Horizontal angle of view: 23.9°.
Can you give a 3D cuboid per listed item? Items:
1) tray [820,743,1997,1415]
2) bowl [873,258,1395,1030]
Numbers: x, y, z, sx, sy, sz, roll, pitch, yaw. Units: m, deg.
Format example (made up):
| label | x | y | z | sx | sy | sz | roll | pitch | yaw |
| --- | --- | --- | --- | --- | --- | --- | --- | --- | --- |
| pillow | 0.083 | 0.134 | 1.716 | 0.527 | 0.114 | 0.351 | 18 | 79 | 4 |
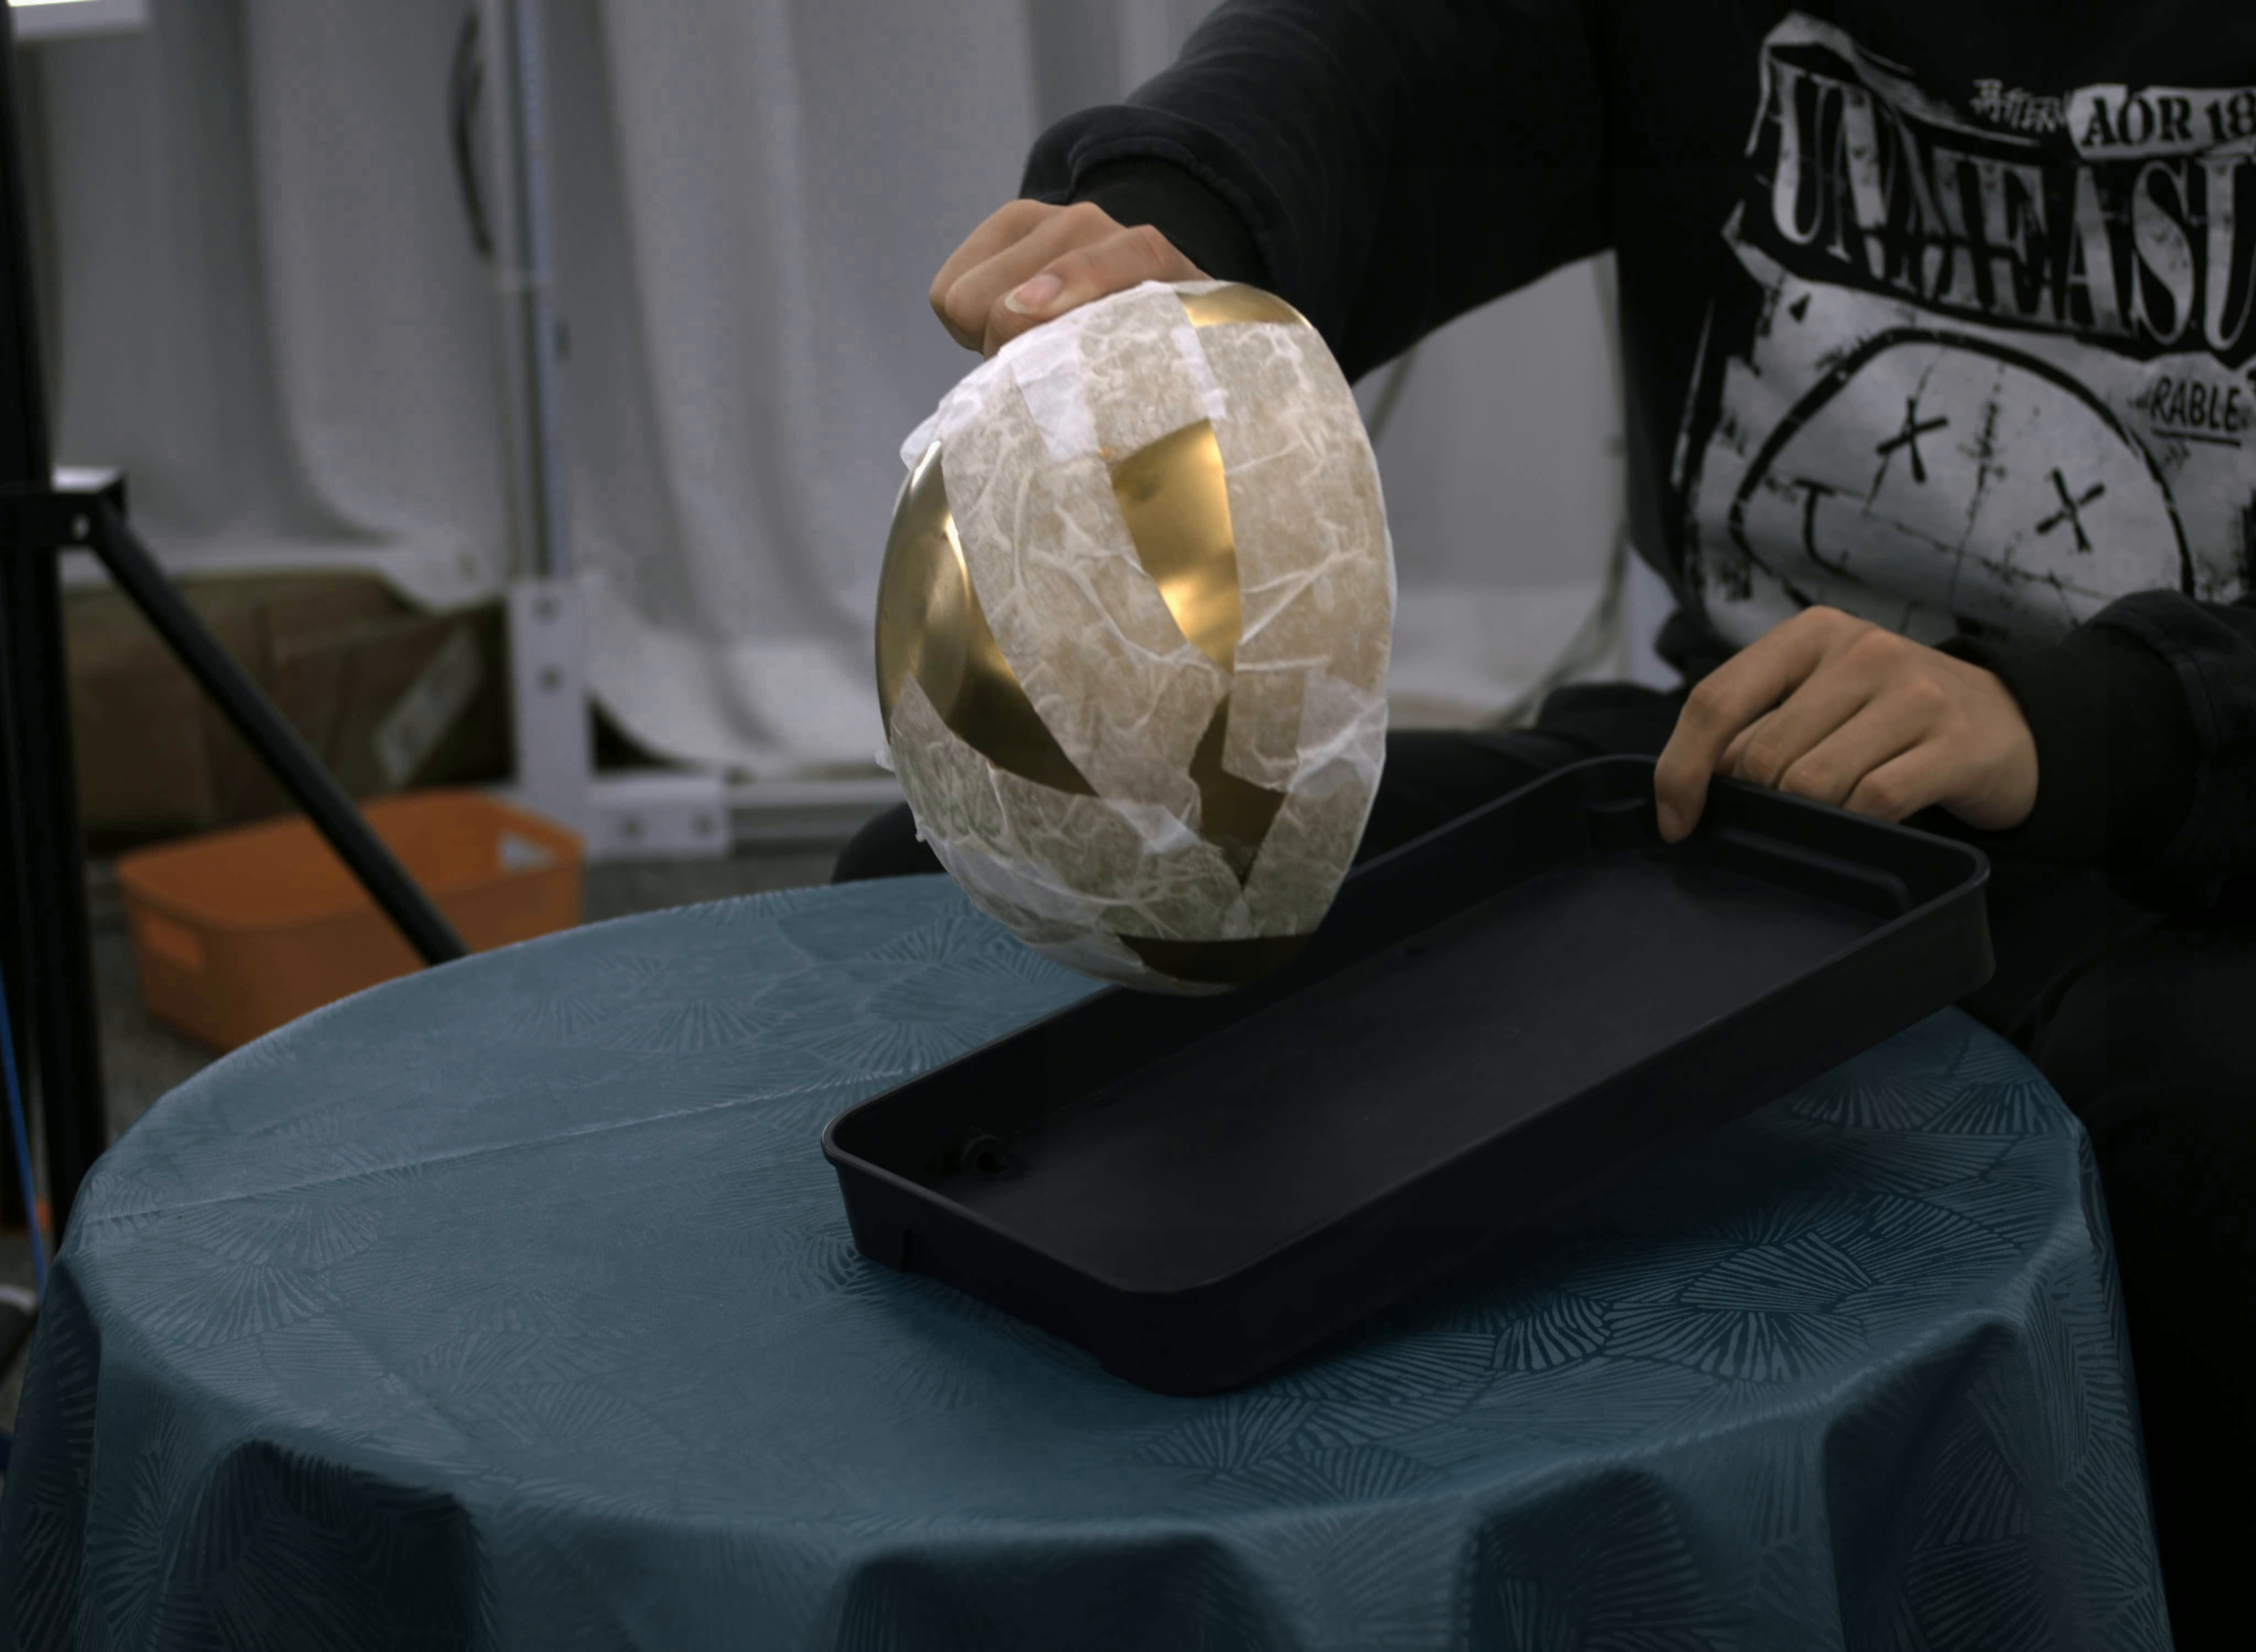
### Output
| label | x | y | z | sx | sy | sz | roll | pitch | yaw |
| --- | --- | --- | --- | --- | --- | --- | --- | --- | --- |
| tray | 0.084 | 0.066 | 1.530 | 0.312 | 0.037 | 0.188 | -25 | 26 | -27 |
| bowl | -0.015 | -0.052 | 1.463 | 0.092 | 0.215 | 0.219 | 0 | 13 | -25 |
